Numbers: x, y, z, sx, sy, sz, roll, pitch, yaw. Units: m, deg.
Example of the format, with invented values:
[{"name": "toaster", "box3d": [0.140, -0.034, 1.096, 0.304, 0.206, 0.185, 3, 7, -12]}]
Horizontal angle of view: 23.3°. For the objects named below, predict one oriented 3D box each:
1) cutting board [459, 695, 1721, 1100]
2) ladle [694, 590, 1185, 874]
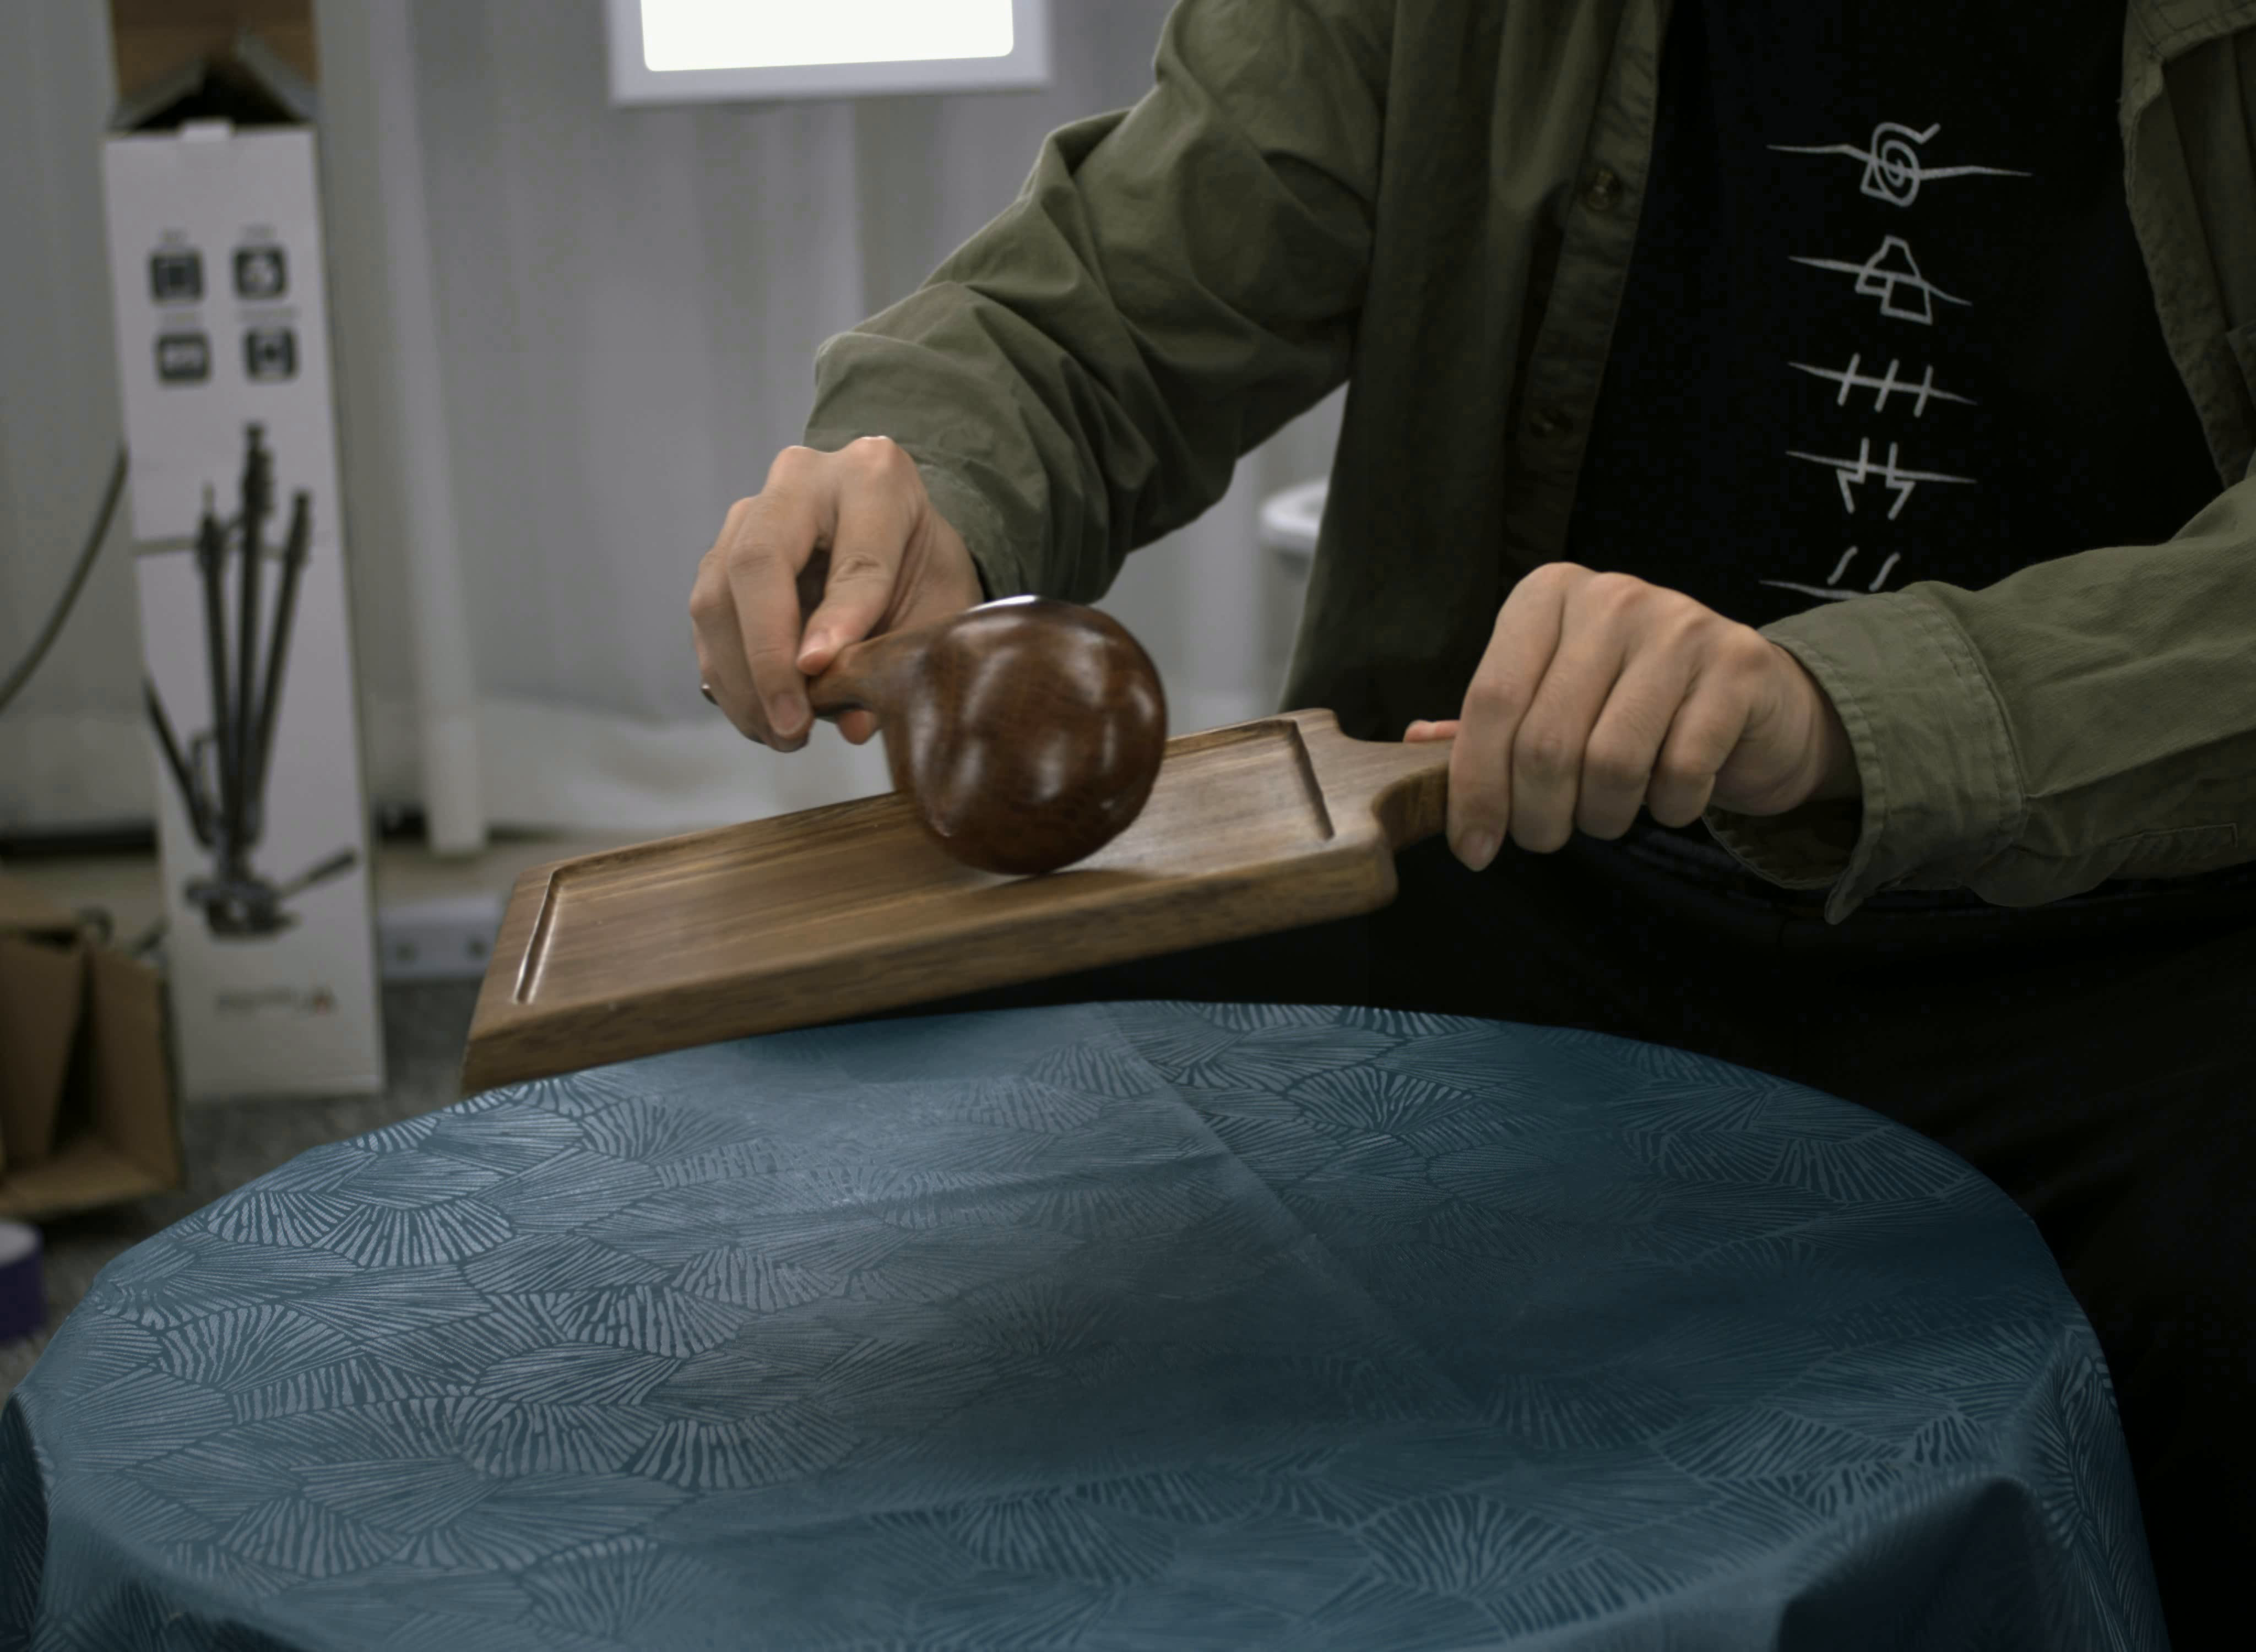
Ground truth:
[{"name": "cutting board", "box3d": [-0.008, 0.009, 1.528, 0.351, 0.023, 0.202, -11, 12, 2]}, {"name": "ladle", "box3d": [-0.059, -0.030, 1.616, 0.082, 0.076, 0.274, -51, 15, -11]}]
